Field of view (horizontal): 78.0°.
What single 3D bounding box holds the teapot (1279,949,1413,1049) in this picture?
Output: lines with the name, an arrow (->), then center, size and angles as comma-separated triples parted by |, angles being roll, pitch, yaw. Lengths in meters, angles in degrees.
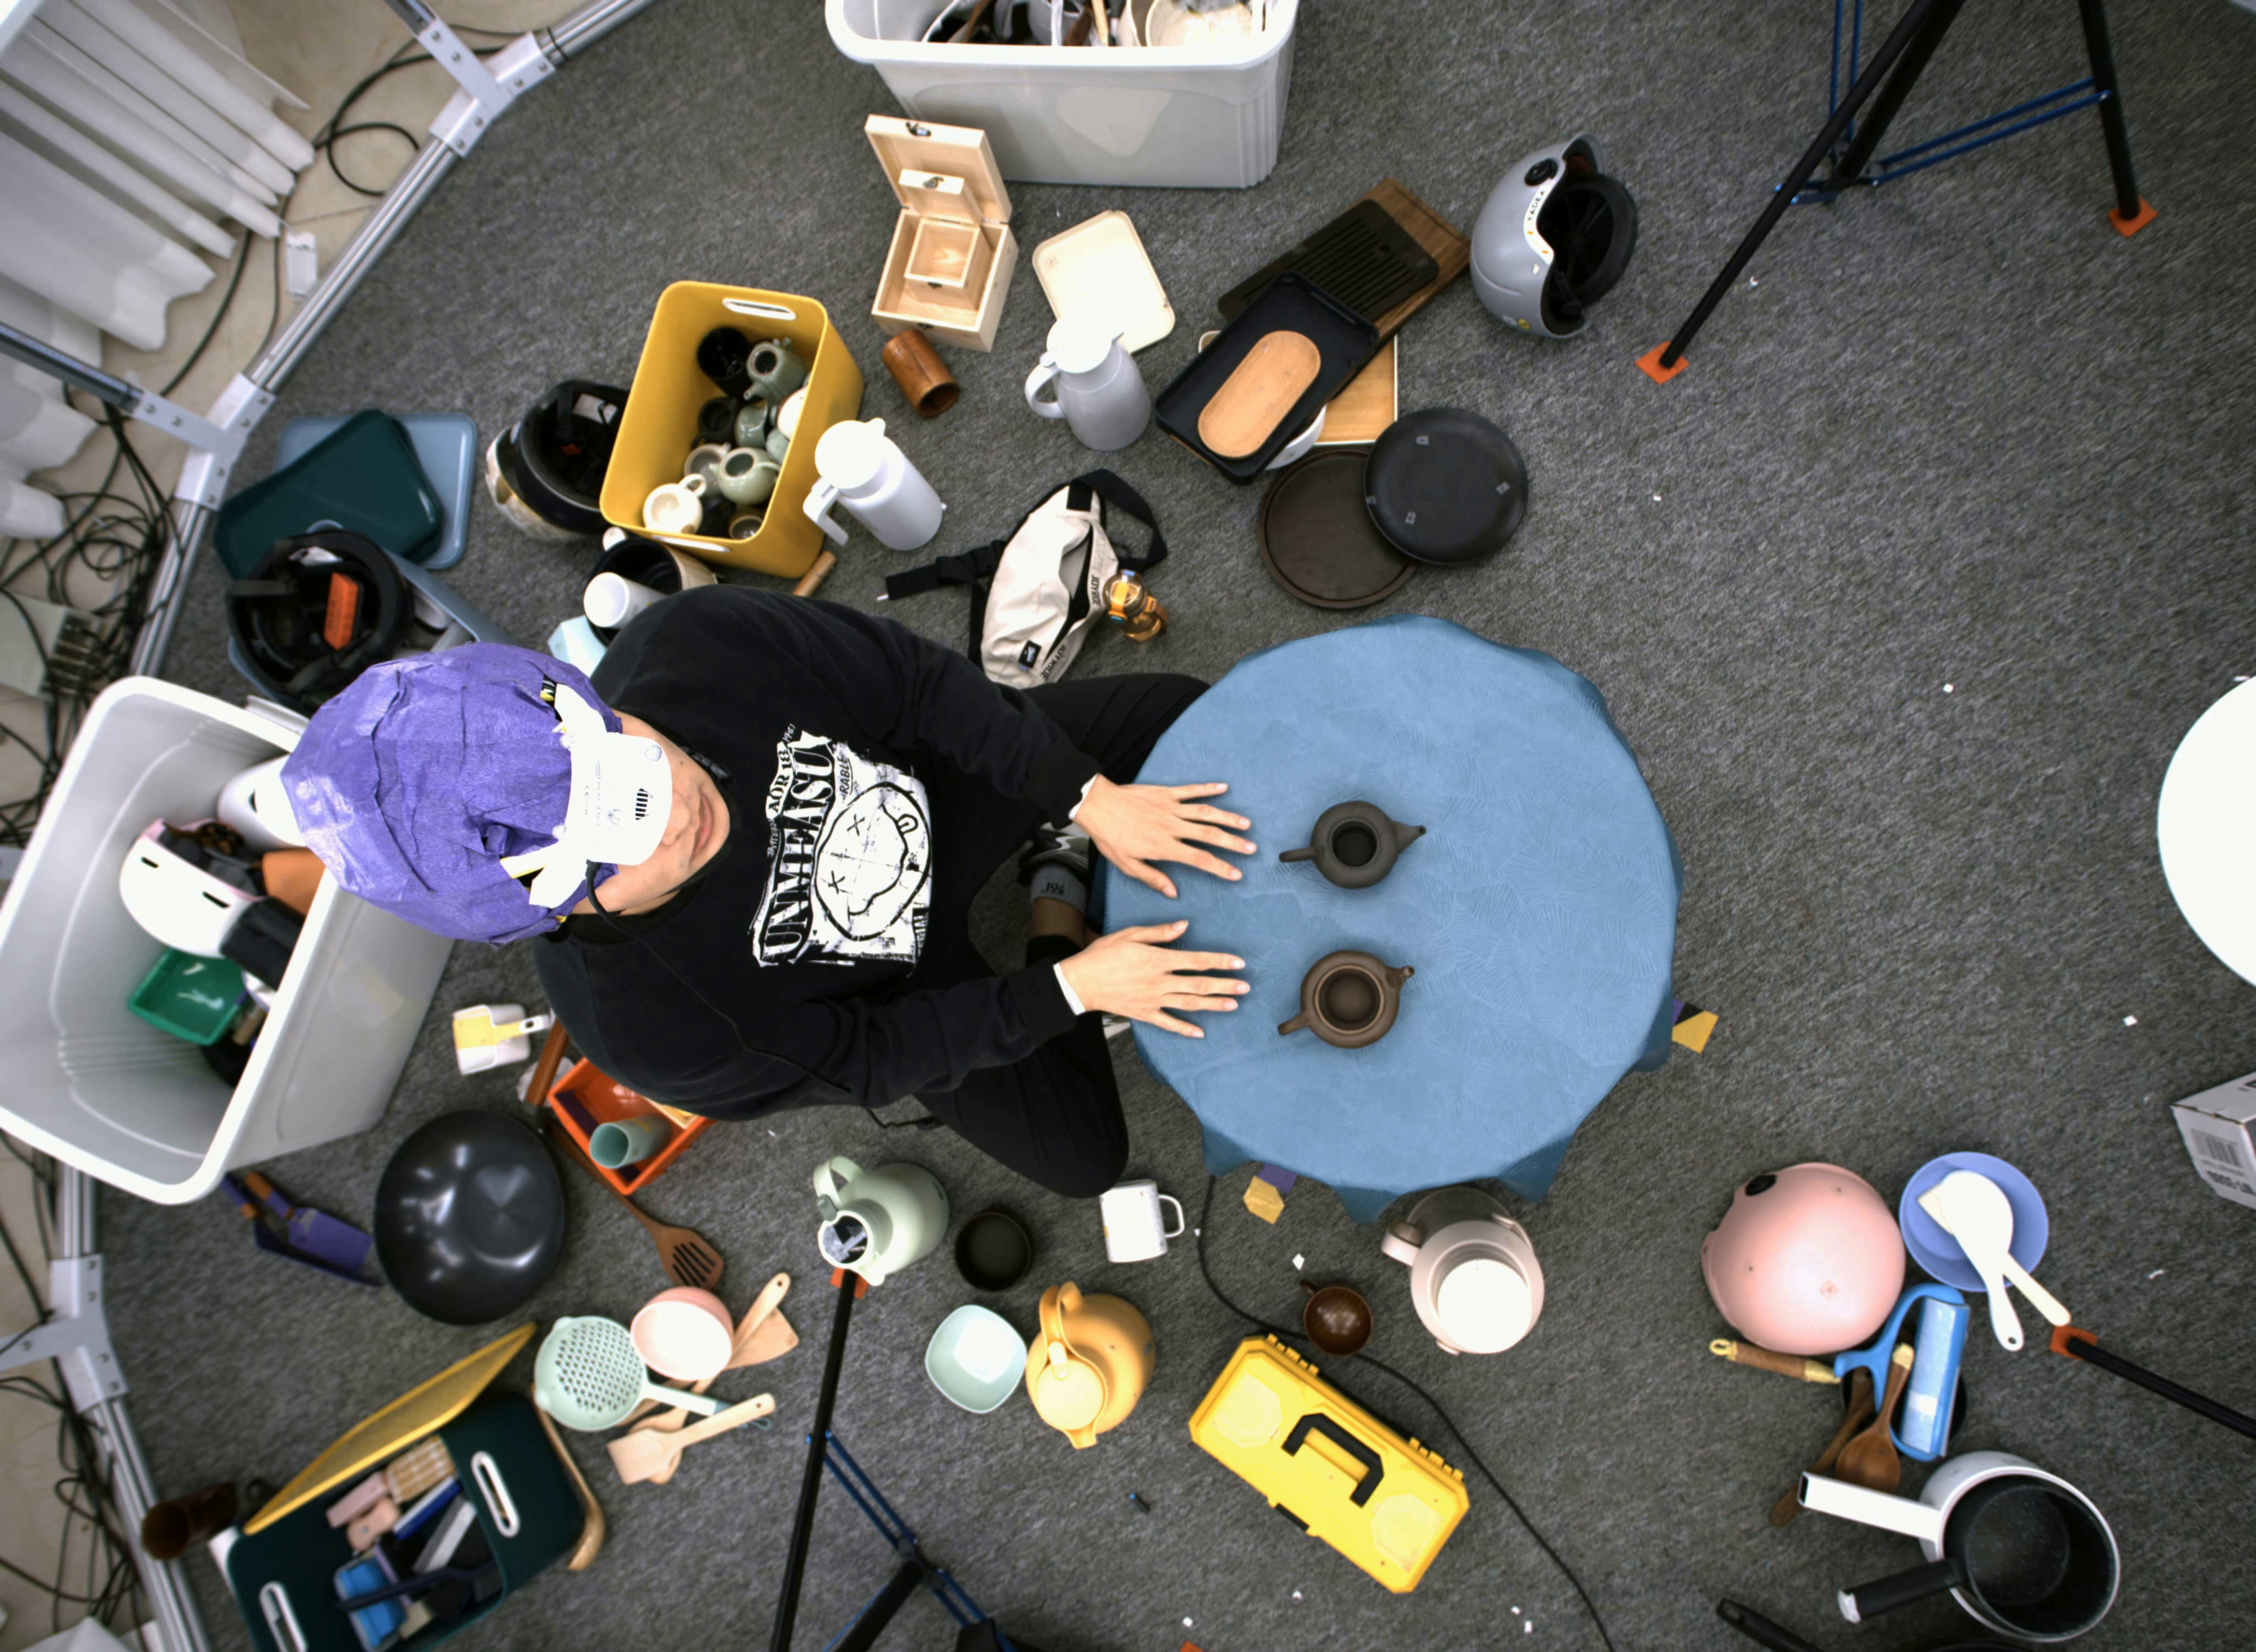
teapot -> 0.226, 0.180, 1.436 | 0.154, 0.054, 0.102 | -32, 79, 7

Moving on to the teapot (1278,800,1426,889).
teapot -> 0.233, 0.019, 1.439 | 0.155, 0.064, 0.092 | -10, 83, 10
